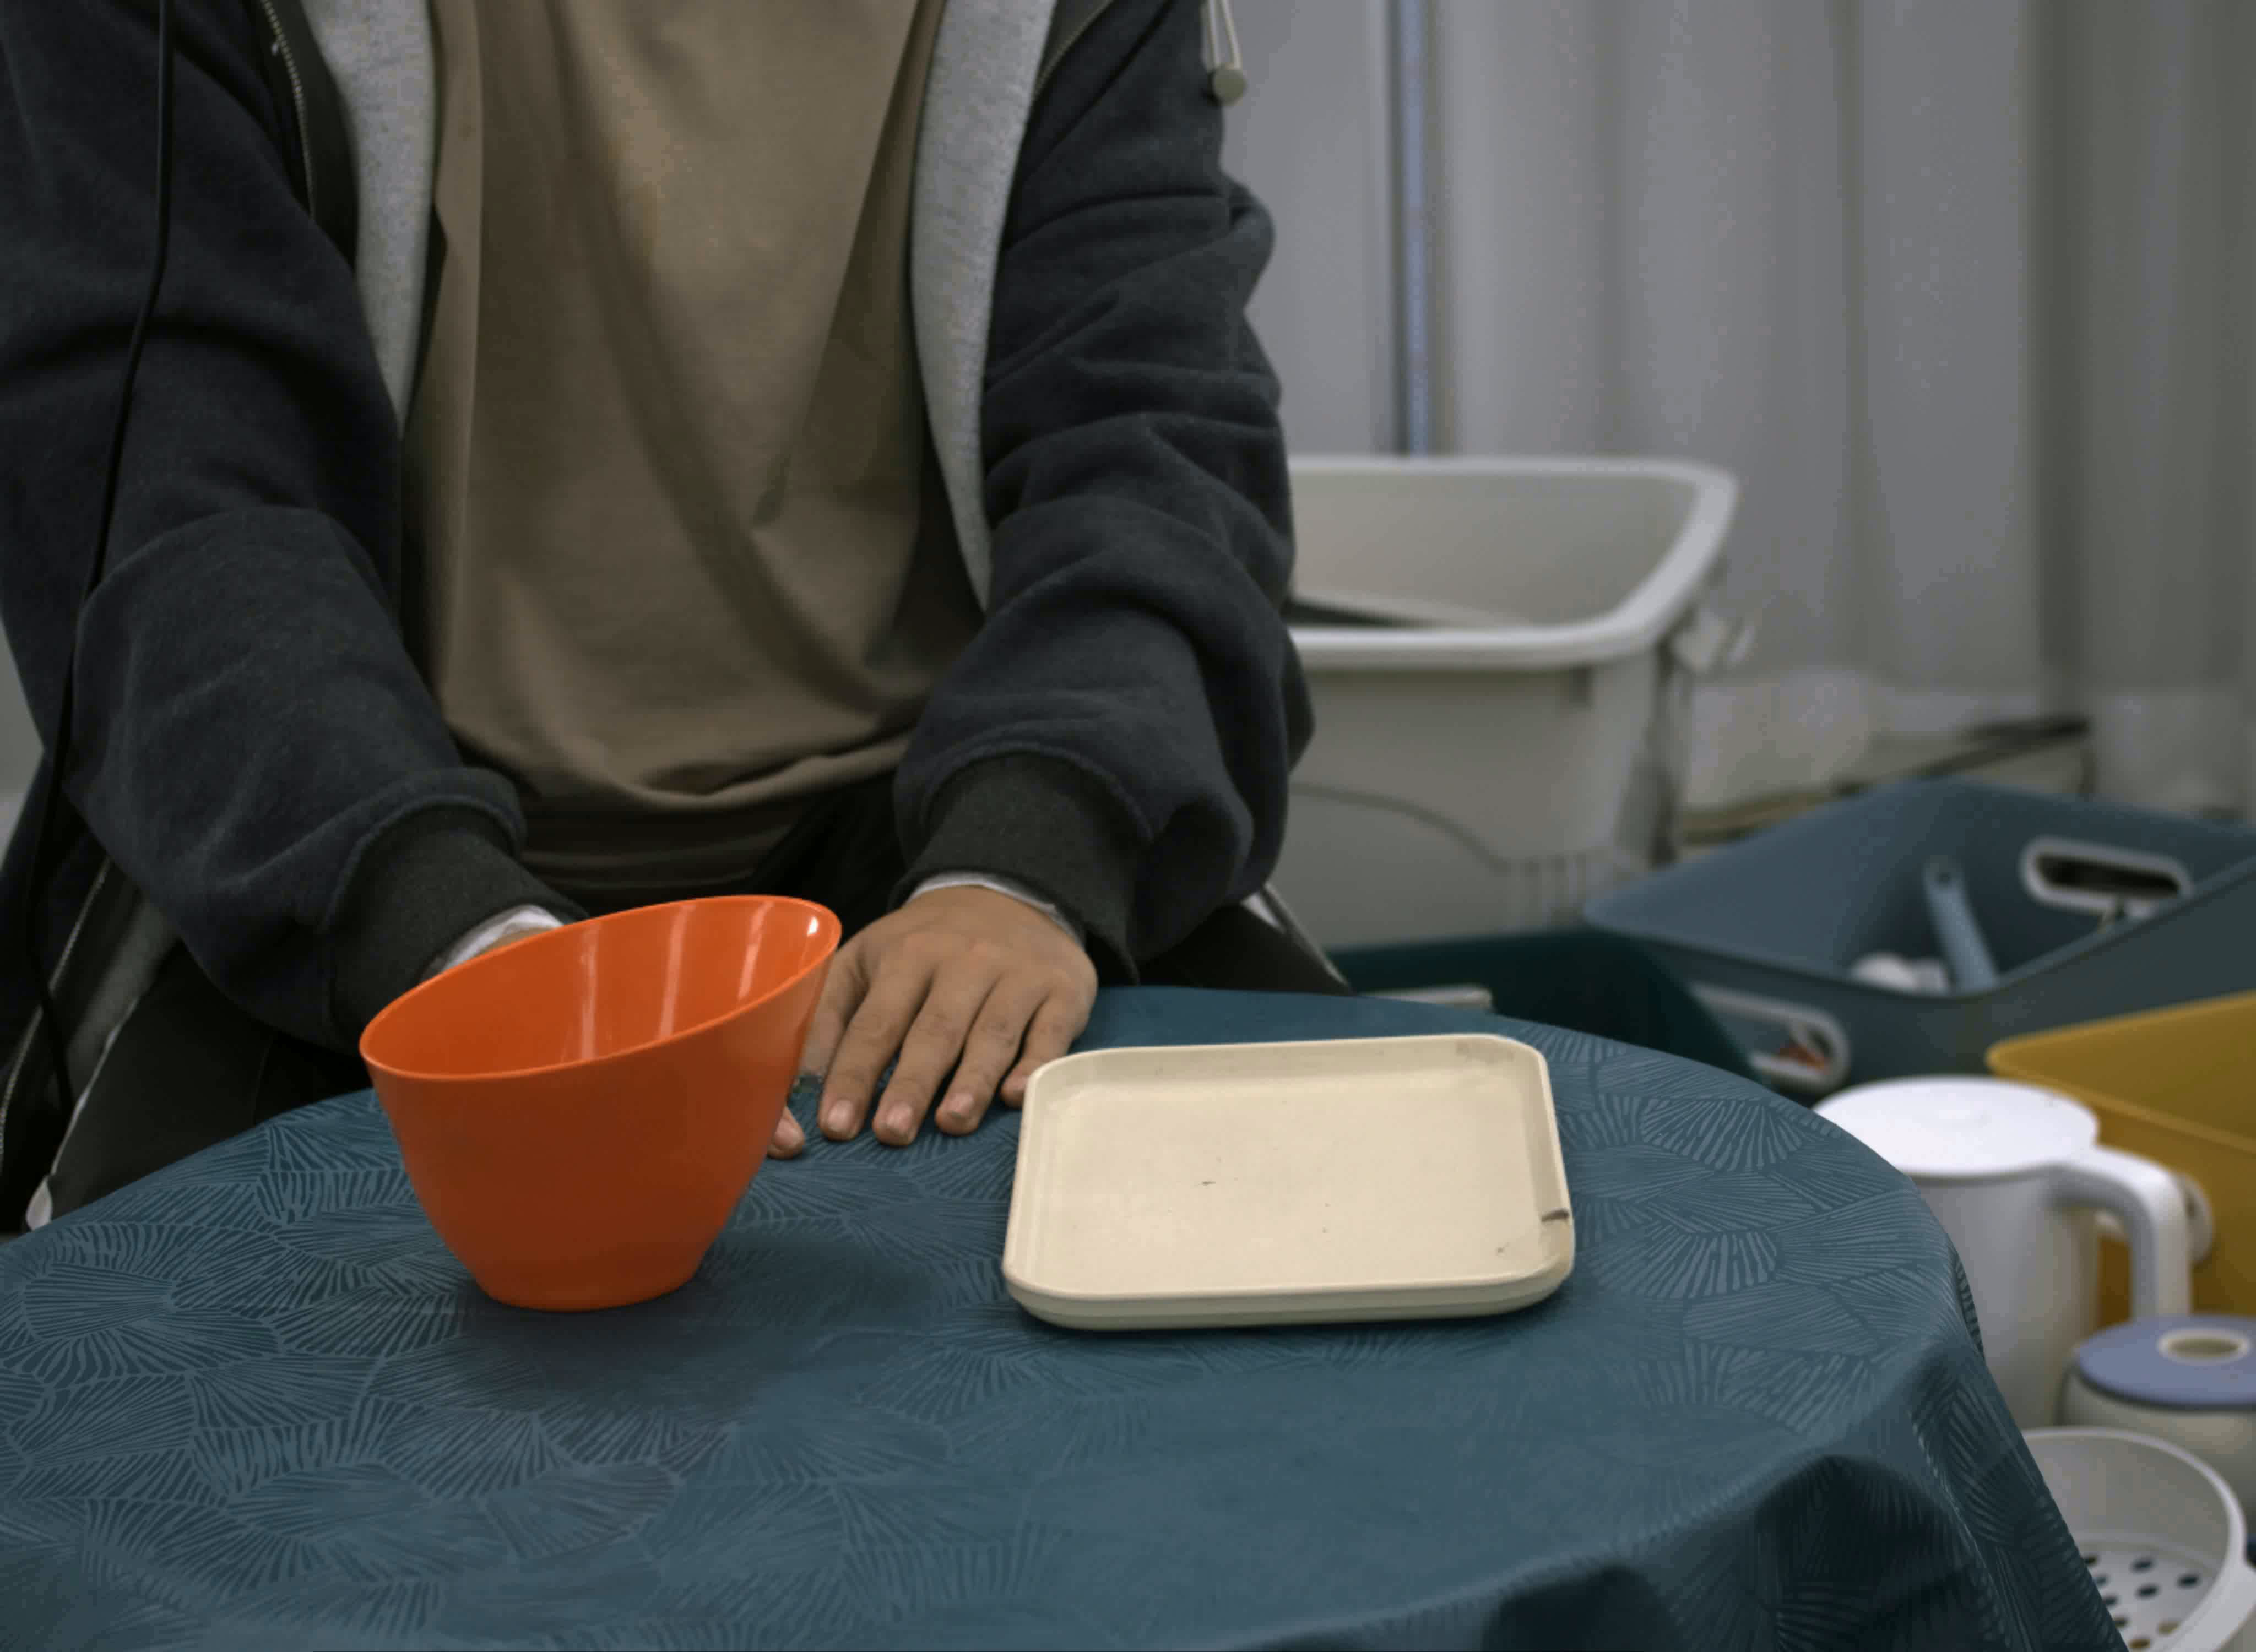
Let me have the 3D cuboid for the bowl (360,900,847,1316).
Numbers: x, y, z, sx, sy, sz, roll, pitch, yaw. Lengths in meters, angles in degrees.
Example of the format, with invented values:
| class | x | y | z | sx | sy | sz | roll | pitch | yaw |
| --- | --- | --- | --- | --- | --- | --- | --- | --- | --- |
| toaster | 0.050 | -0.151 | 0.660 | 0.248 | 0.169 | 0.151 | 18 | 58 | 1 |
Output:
| class | x | y | z | sx | sy | sz | roll | pitch | yaw |
| --- | --- | --- | --- | --- | --- | --- | --- | --- | --- |
| bowl | -0.156 | 0.088 | 1.653 | 0.147 | 0.104 | 0.149 | -2 | 16 | 0 |

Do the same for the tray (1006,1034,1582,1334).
| class | x | y | z | sx | sy | sz | roll | pitch | yaw |
| --- | --- | --- | --- | --- | --- | --- | --- | --- | --- |
| tray | 0.050 | 0.110 | 1.691 | 0.171 | 0.017 | 0.241 | -3 | 15 | 2 |
